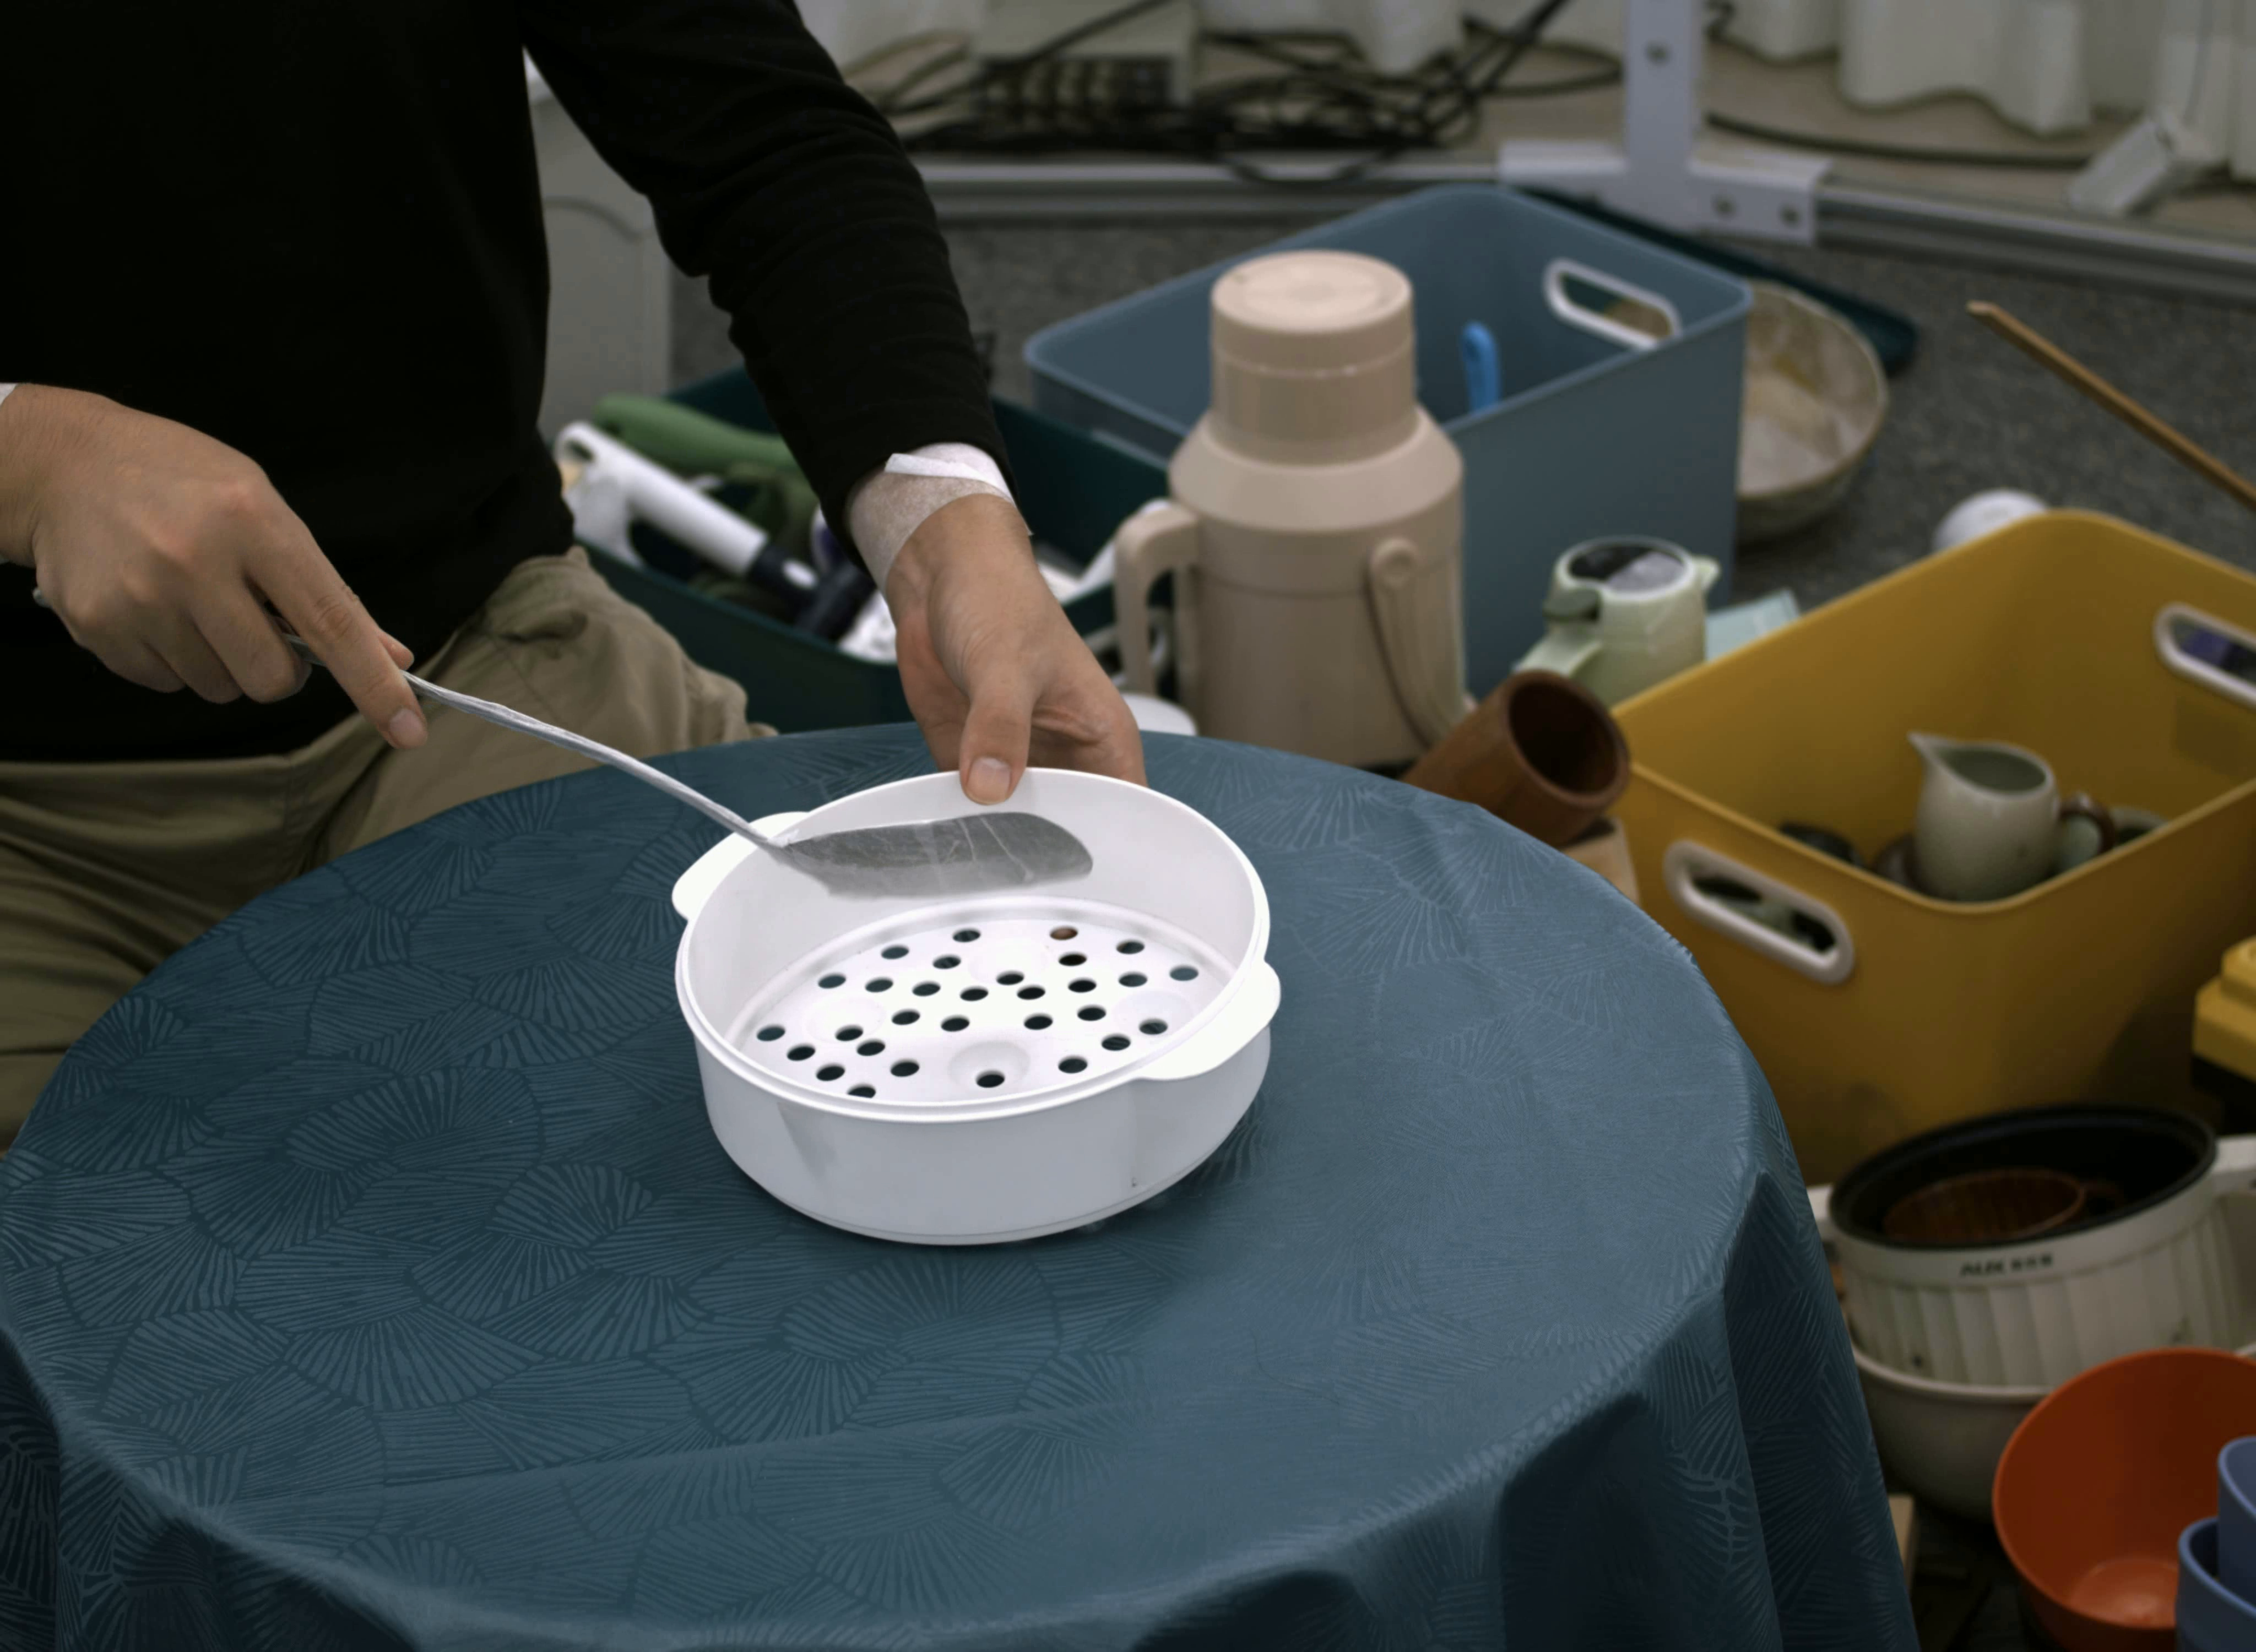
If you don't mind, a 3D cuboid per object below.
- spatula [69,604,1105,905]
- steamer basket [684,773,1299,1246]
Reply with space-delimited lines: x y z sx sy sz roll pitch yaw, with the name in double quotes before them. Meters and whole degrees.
"spatula" -0.185 -0.031 1.872 0.363 0.045 0.098 19 -13 10
"steamer basket" -0.045 0.062 1.891 0.229 0.068 0.205 17 39 32
